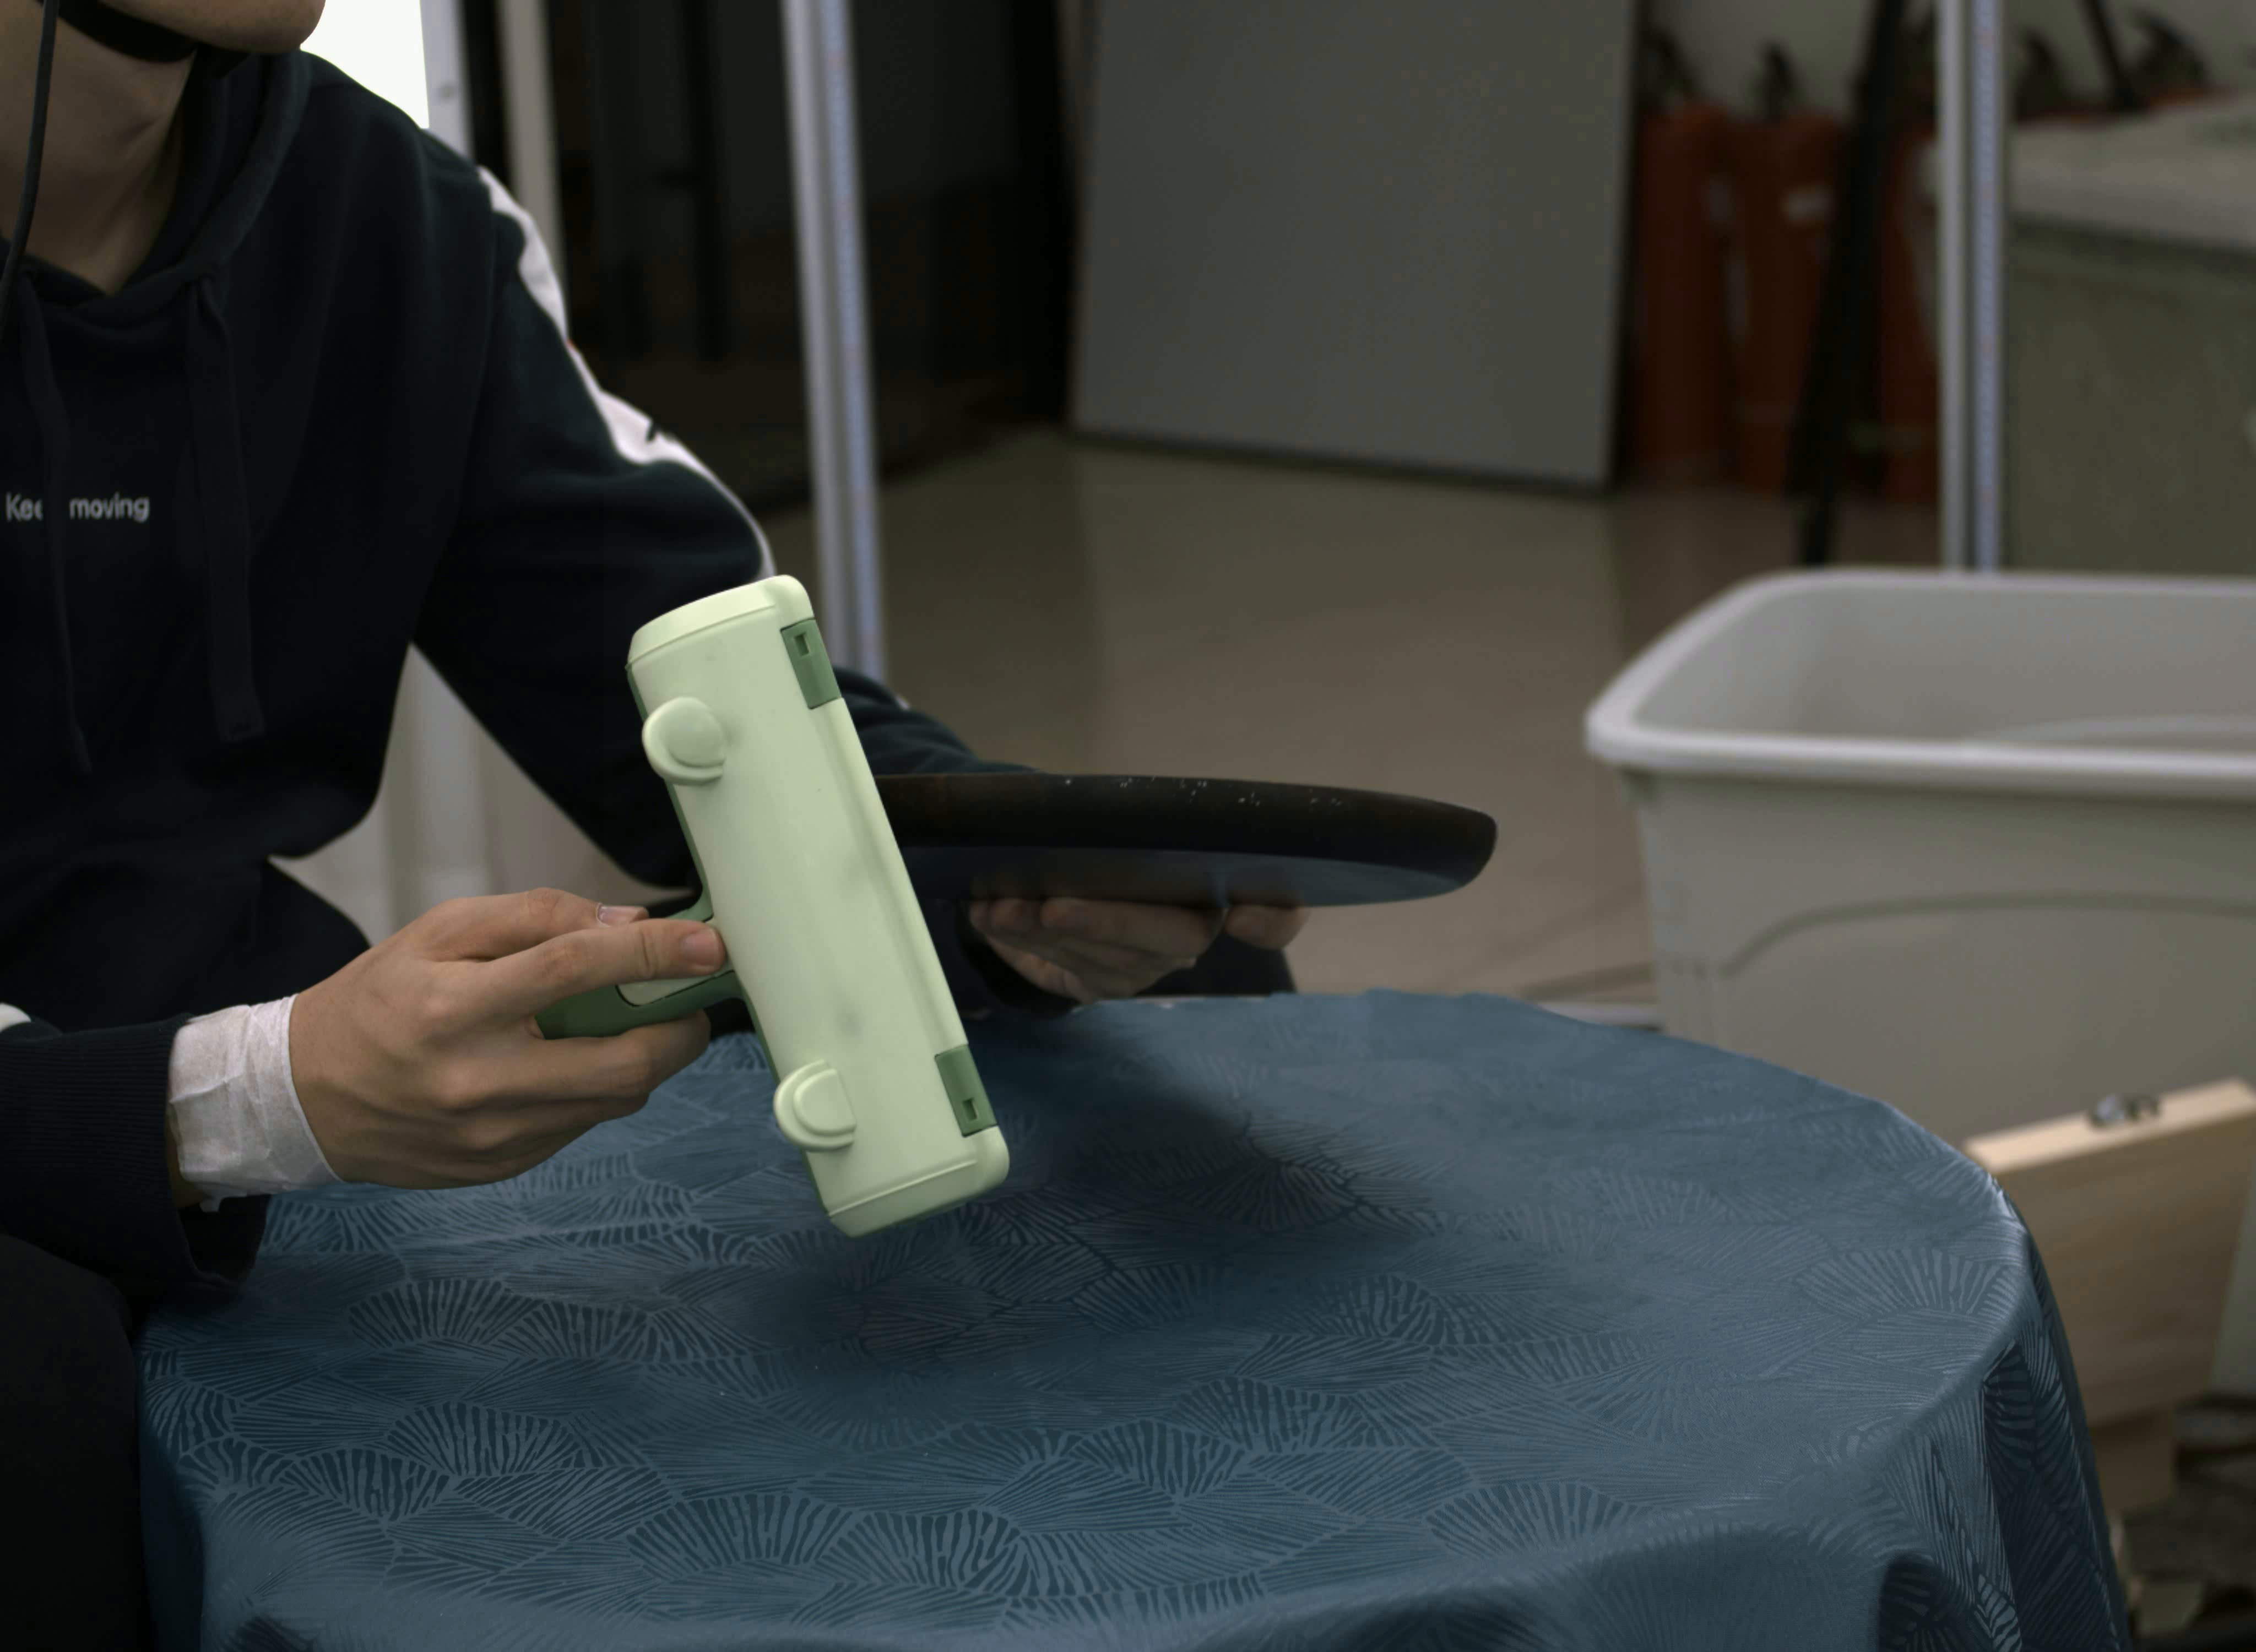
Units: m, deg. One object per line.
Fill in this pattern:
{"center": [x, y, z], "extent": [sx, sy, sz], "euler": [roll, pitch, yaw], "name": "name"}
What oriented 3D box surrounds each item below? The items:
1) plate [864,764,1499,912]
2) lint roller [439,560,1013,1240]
{"center": [-0.007, 0.005, 1.720], "extent": [0.251, 0.029, 0.255], "euler": [1, -5, -1], "name": "plate"}
{"center": [-0.143, 0.044, 1.617], "extent": [0.183, 0.201, 0.081], "euler": [-24, -7, 20], "name": "lint roller"}
